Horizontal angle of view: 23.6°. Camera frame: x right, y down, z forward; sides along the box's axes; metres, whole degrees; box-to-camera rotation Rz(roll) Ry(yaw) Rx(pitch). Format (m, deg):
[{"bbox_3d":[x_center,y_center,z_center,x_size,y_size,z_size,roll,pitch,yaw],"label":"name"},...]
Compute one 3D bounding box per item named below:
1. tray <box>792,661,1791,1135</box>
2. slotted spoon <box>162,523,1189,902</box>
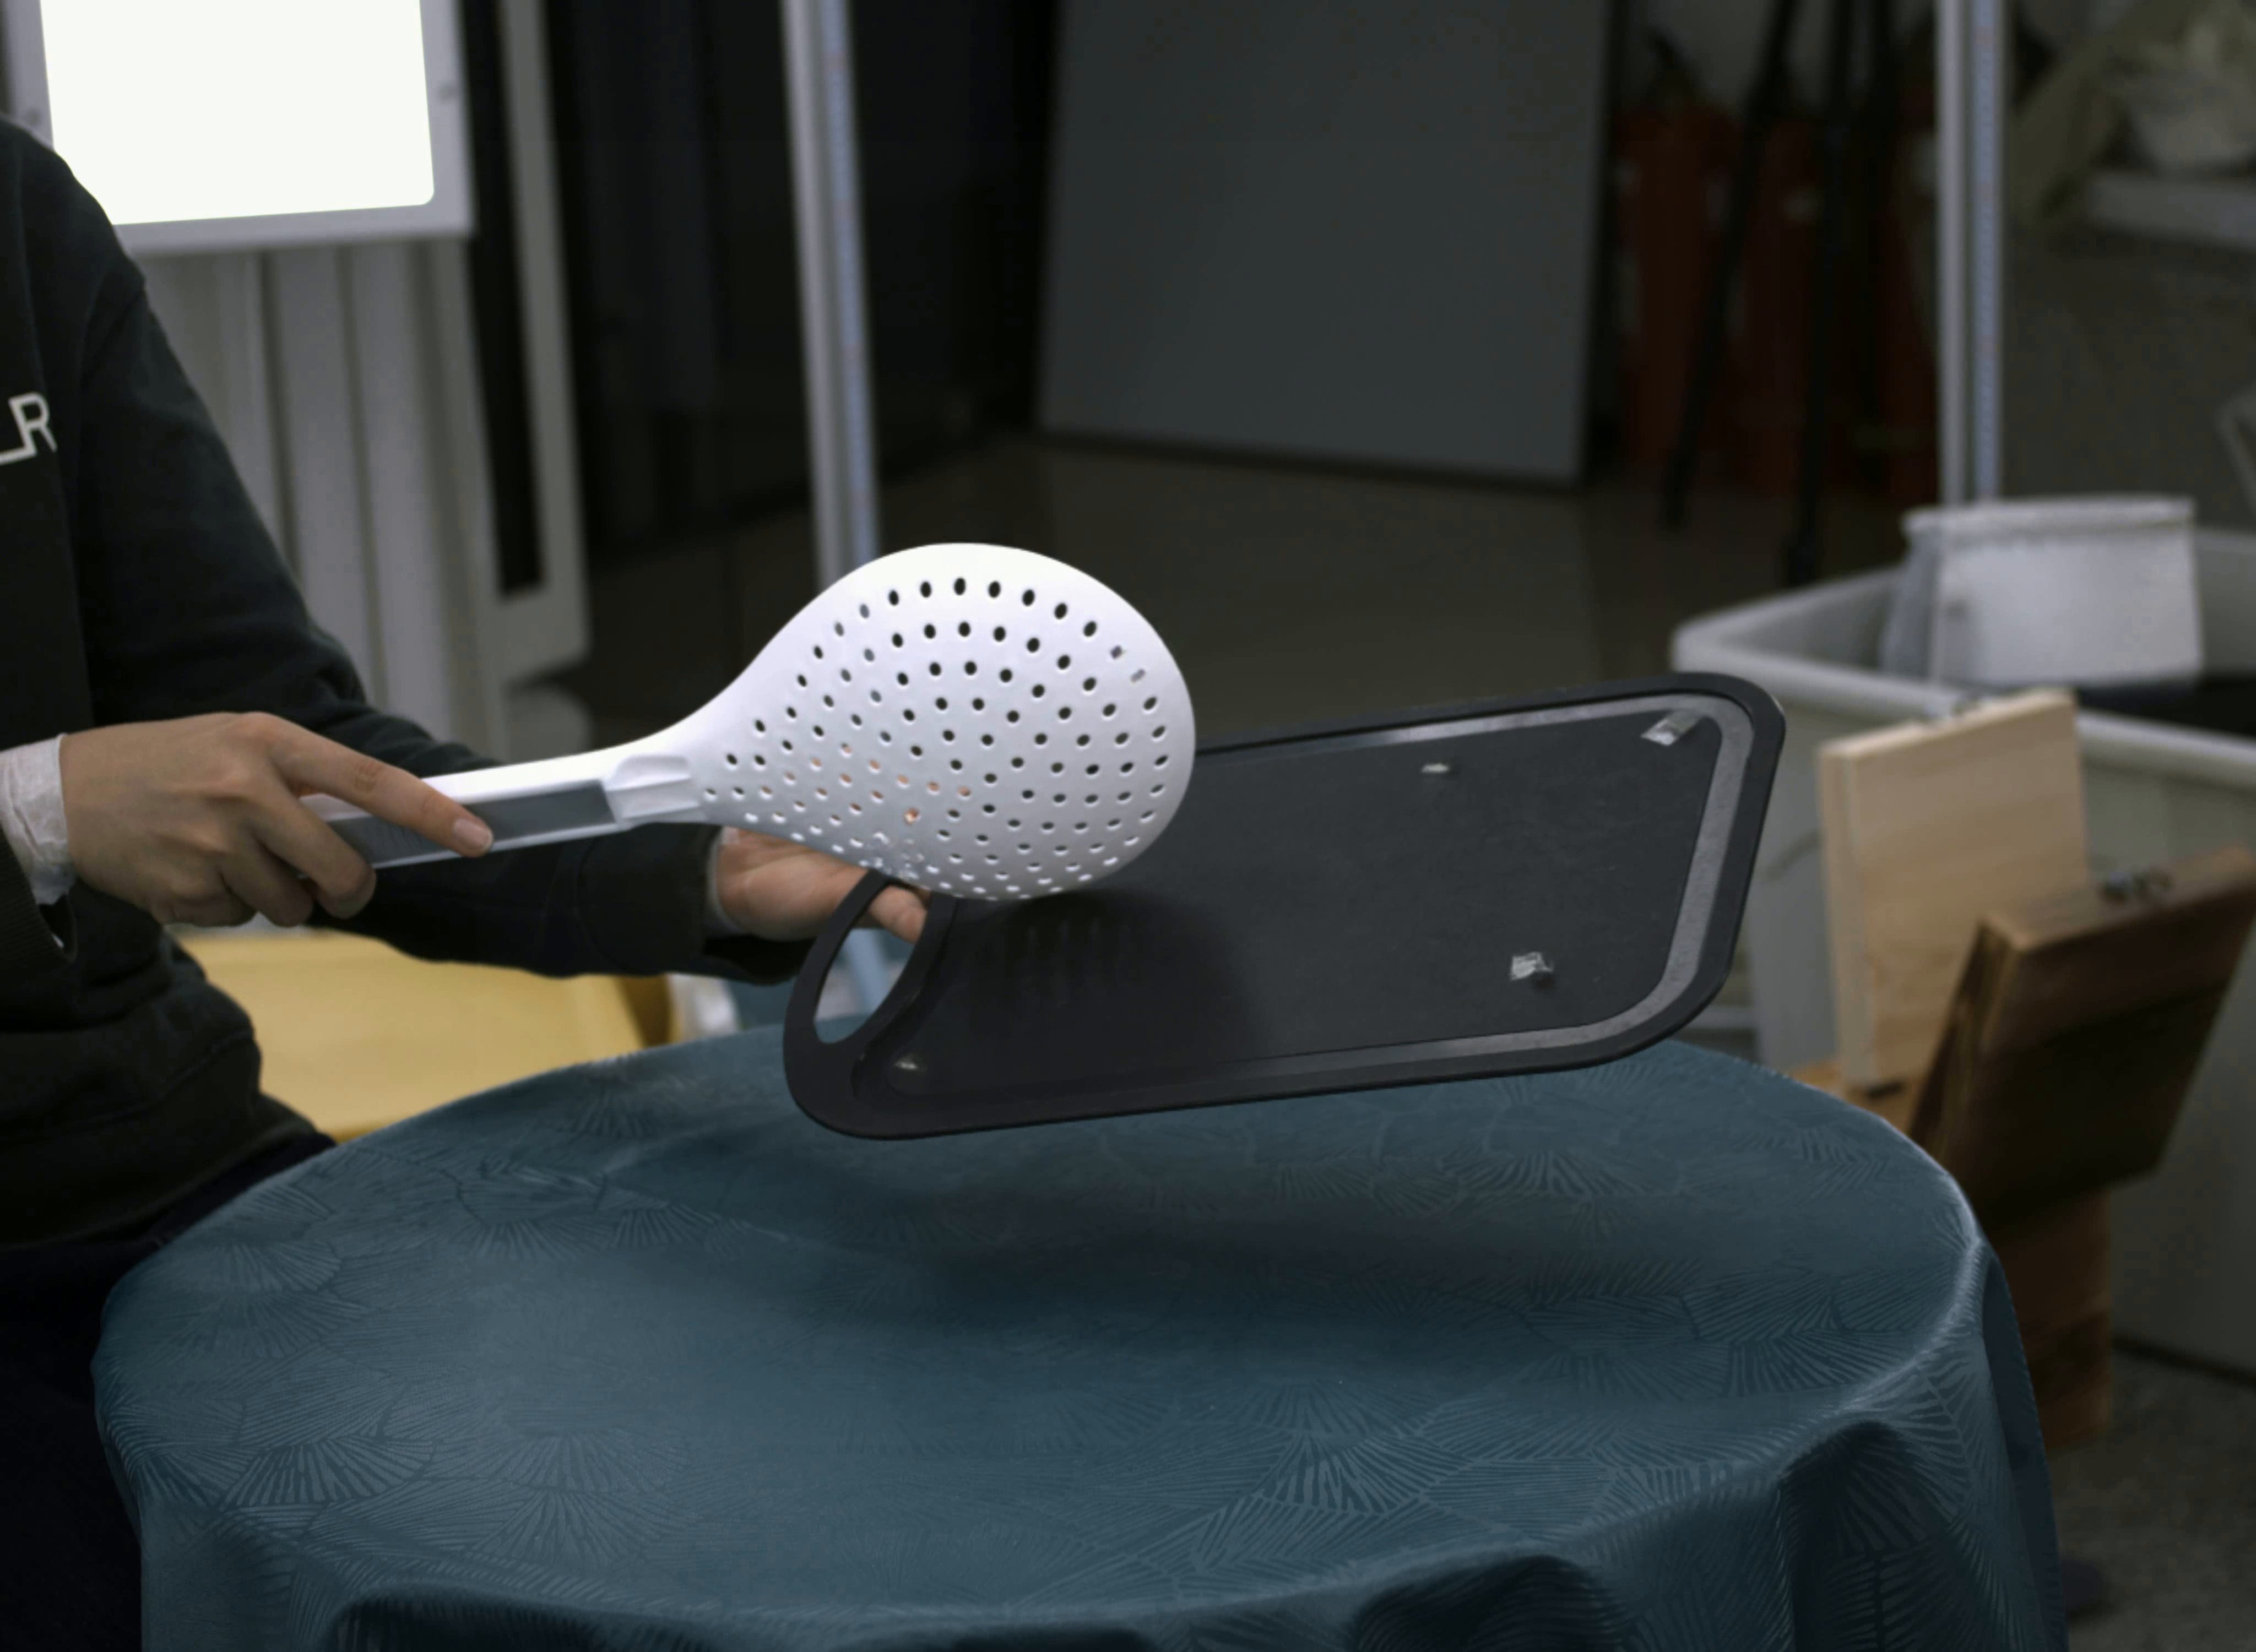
[{"bbox_3d":[0.045,0.022,1.701,0.325,0.010,0.211,-8,32,22],"label":"tray"},{"bbox_3d":[-0.150,-0.015,1.739,0.349,0.136,0.045,-7,30,20],"label":"slotted spoon"}]
